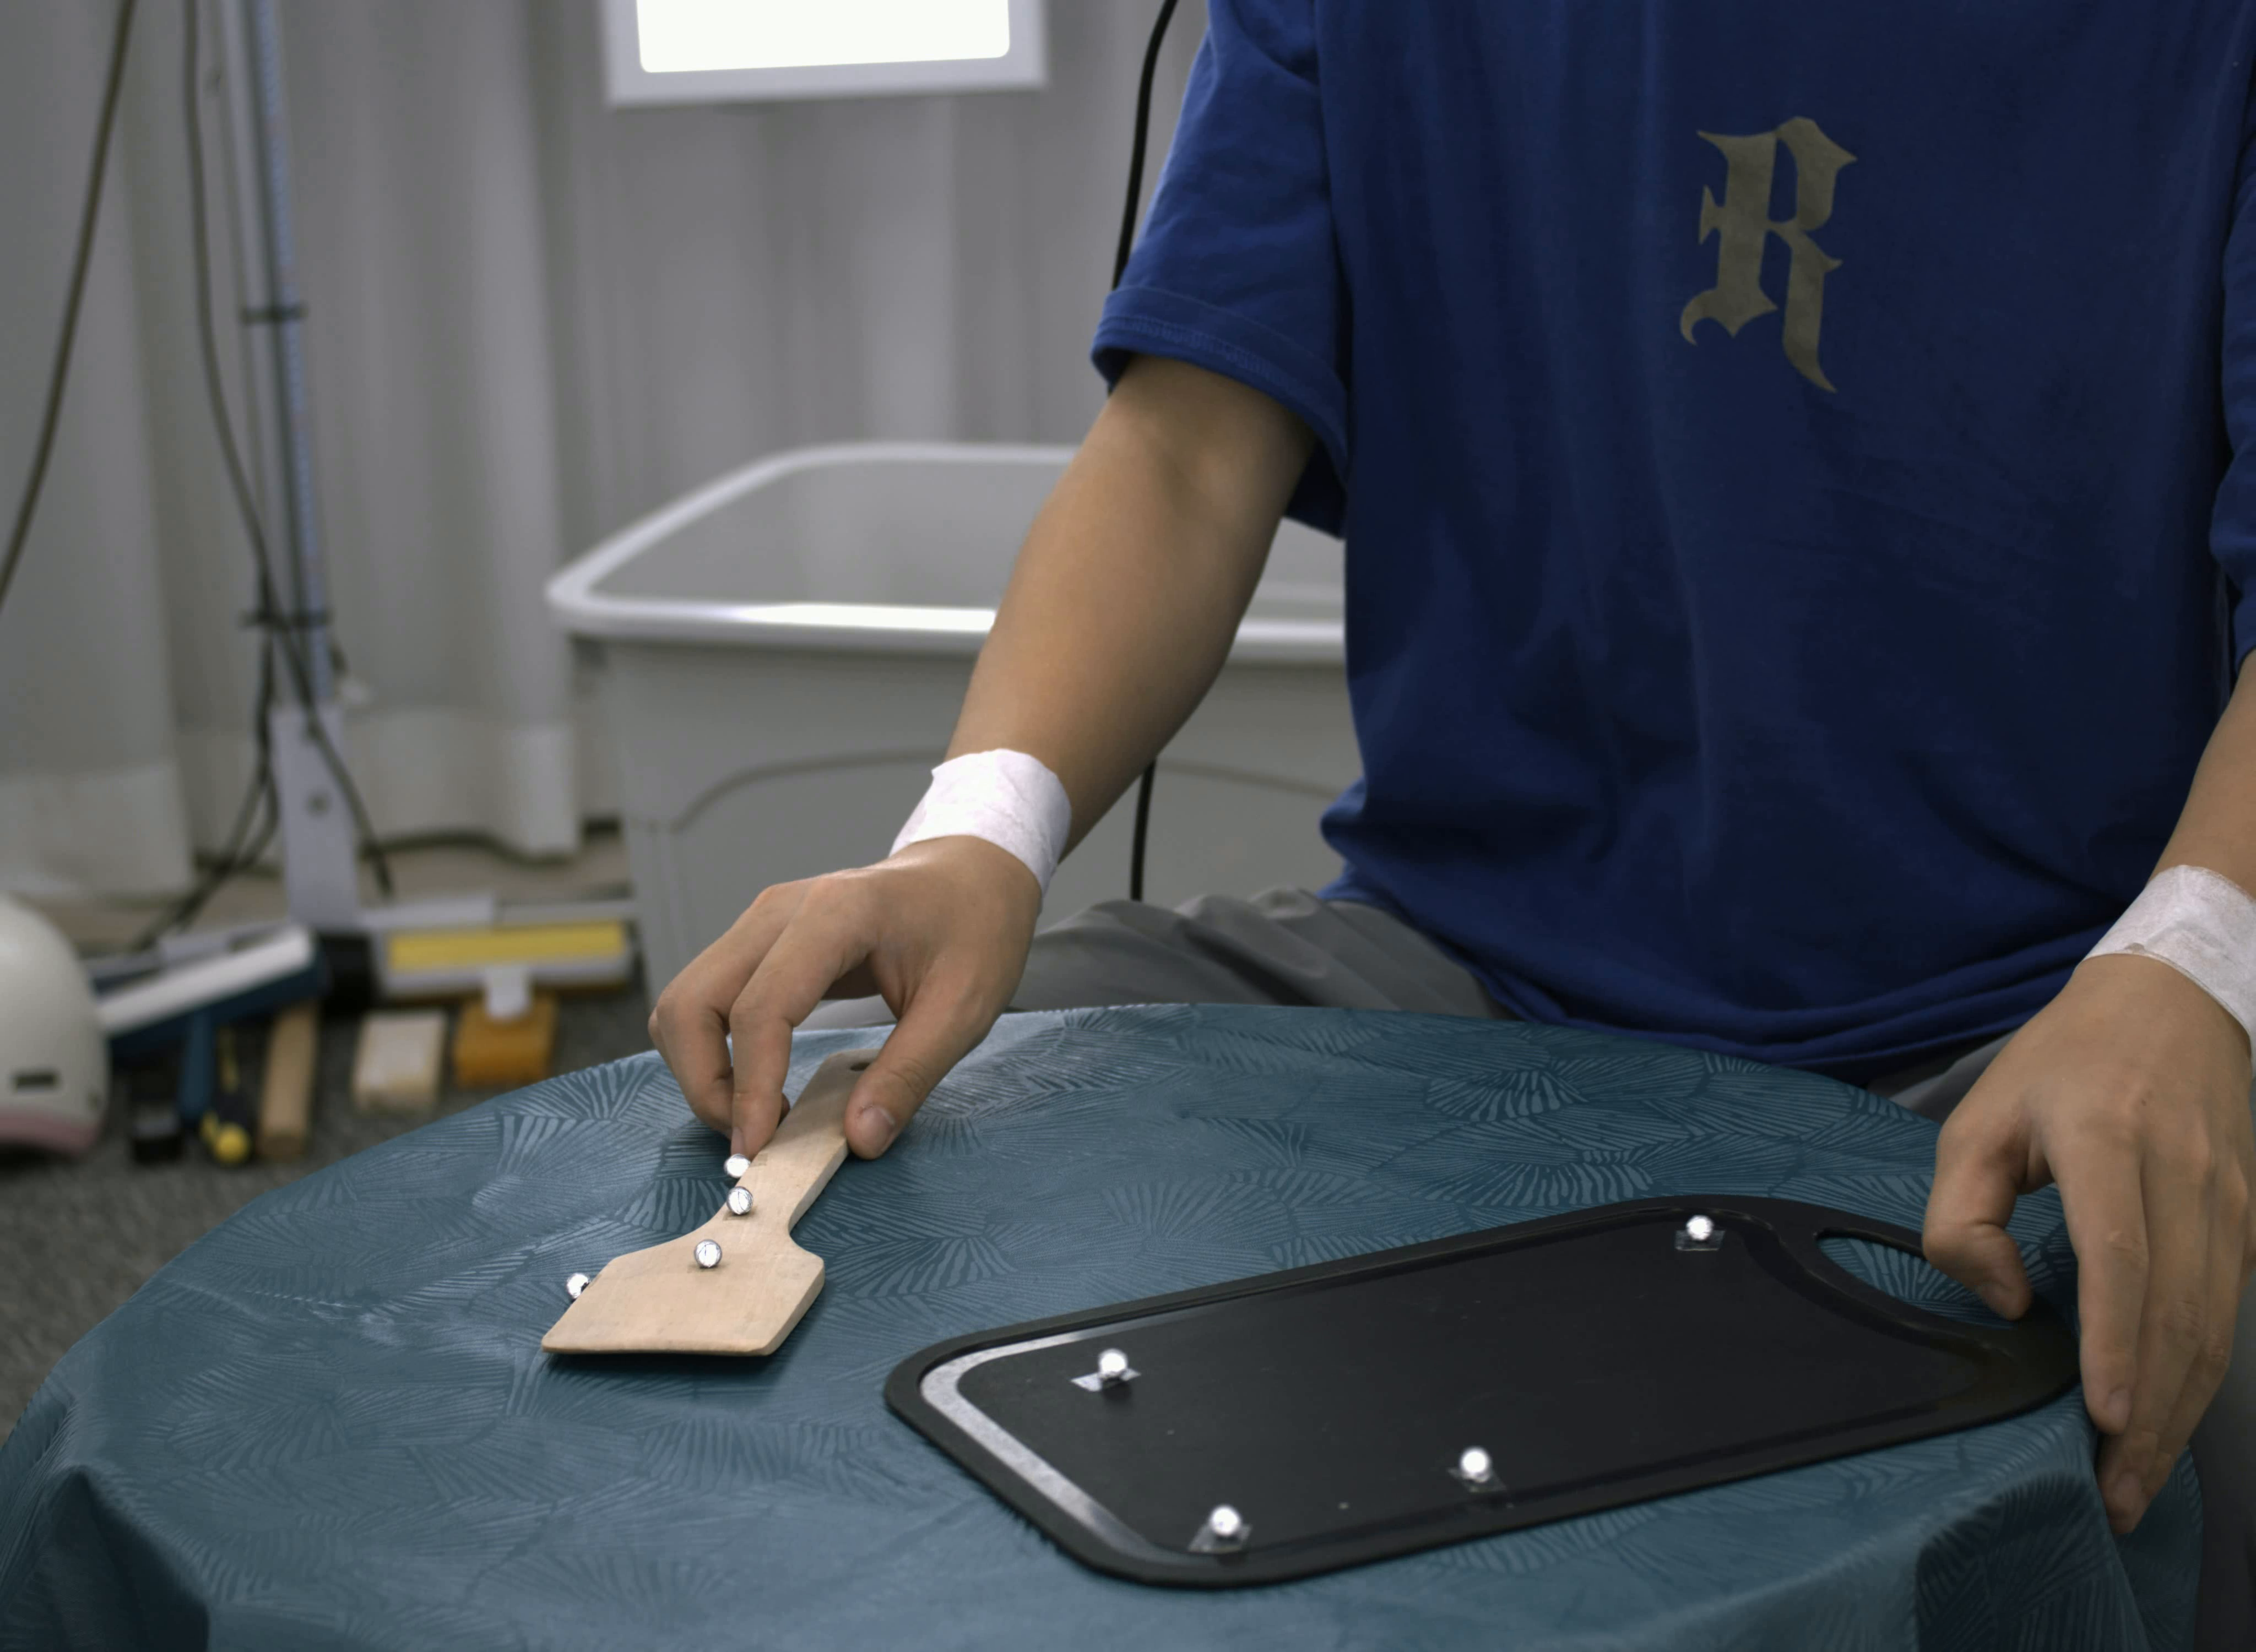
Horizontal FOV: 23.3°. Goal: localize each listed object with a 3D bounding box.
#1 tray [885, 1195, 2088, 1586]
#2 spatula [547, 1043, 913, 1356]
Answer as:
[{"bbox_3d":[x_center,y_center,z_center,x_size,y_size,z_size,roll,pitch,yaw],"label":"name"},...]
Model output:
[{"bbox_3d":[0.105,0.151,1.538,0.324,0.010,0.213,-9,16,-22],"label":"tray"},{"bbox_3d":[-0.111,0.115,1.712,0.072,0.010,0.294,-2,15,11],"label":"spatula"}]
